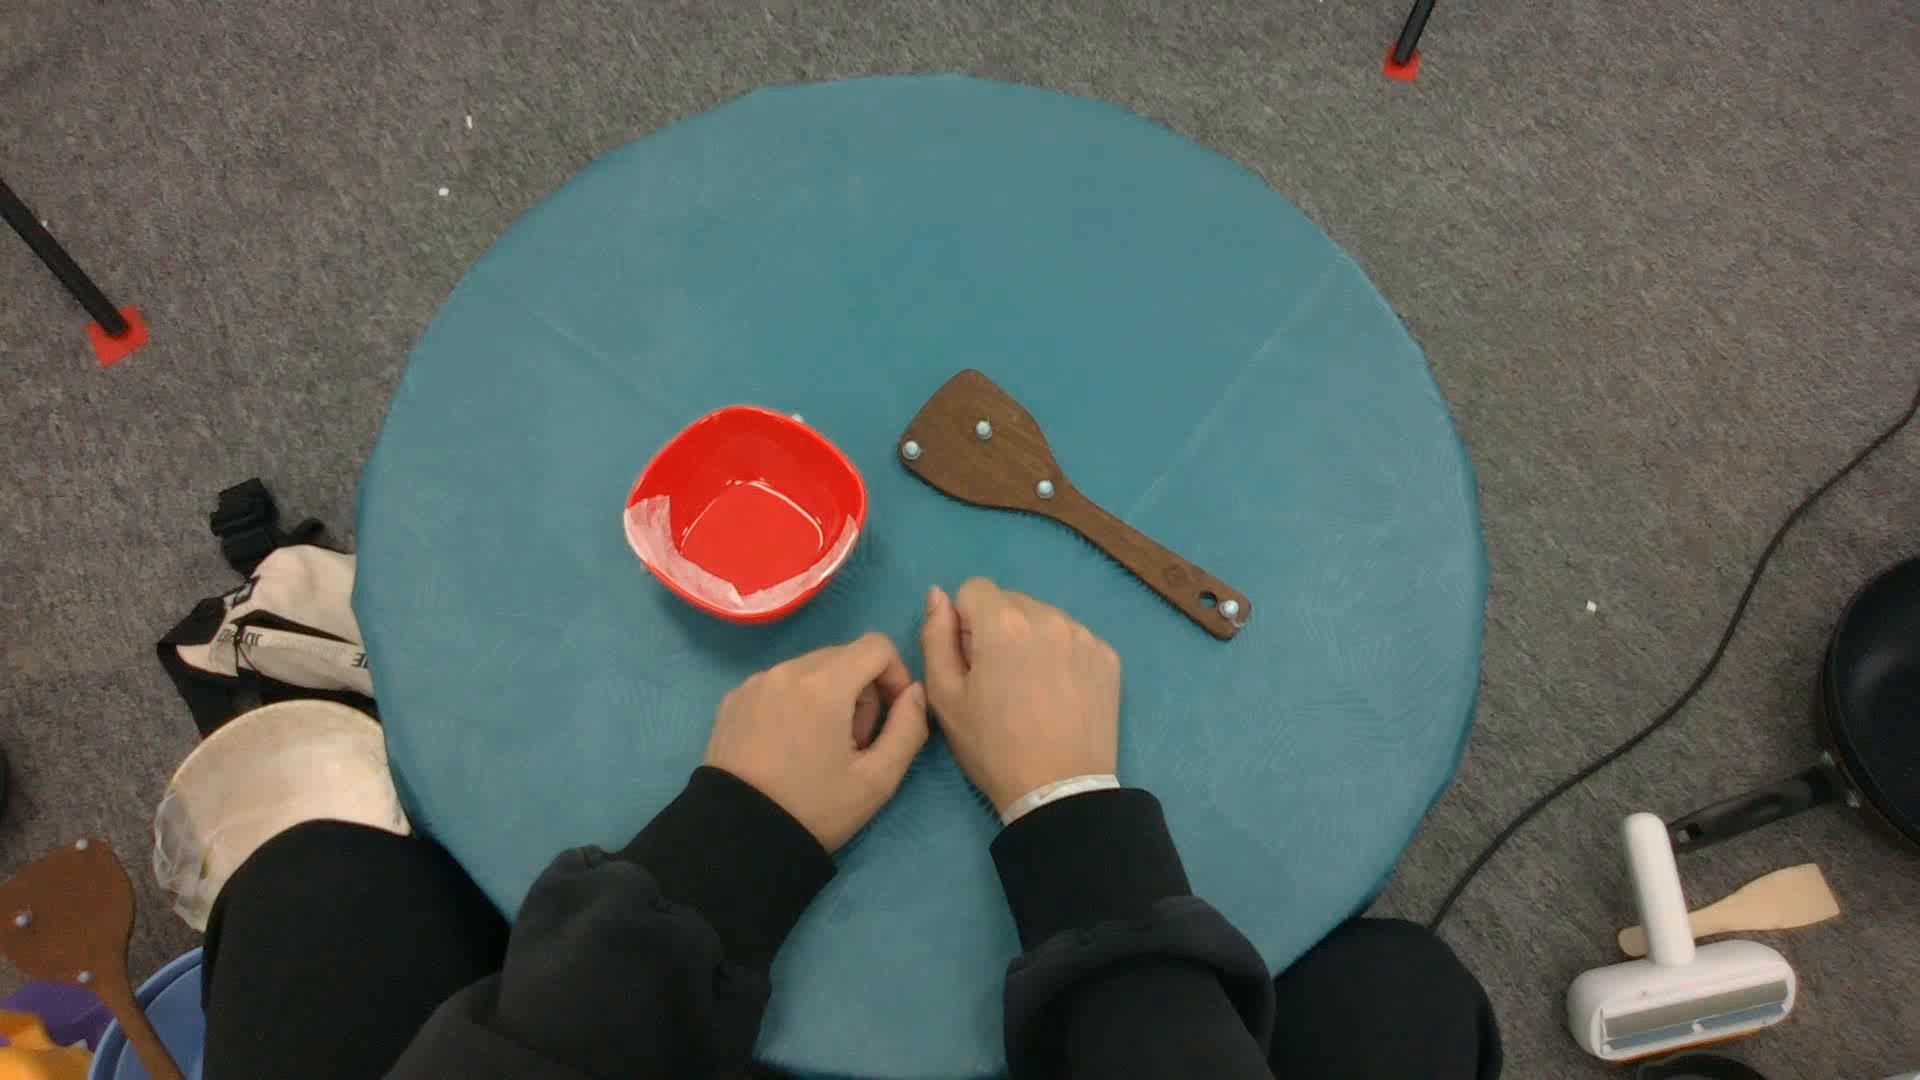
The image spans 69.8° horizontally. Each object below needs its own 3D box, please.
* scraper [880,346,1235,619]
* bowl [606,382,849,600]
[{"bbox_3d":[0.056,-0.026,0.741,0.211,0.011,0.076,36,68,11],"label":"scraper"},{"bbox_3d":[-0.116,-0.017,0.699,0.119,0.051,0.119,2,62,-4],"label":"bowl"}]
